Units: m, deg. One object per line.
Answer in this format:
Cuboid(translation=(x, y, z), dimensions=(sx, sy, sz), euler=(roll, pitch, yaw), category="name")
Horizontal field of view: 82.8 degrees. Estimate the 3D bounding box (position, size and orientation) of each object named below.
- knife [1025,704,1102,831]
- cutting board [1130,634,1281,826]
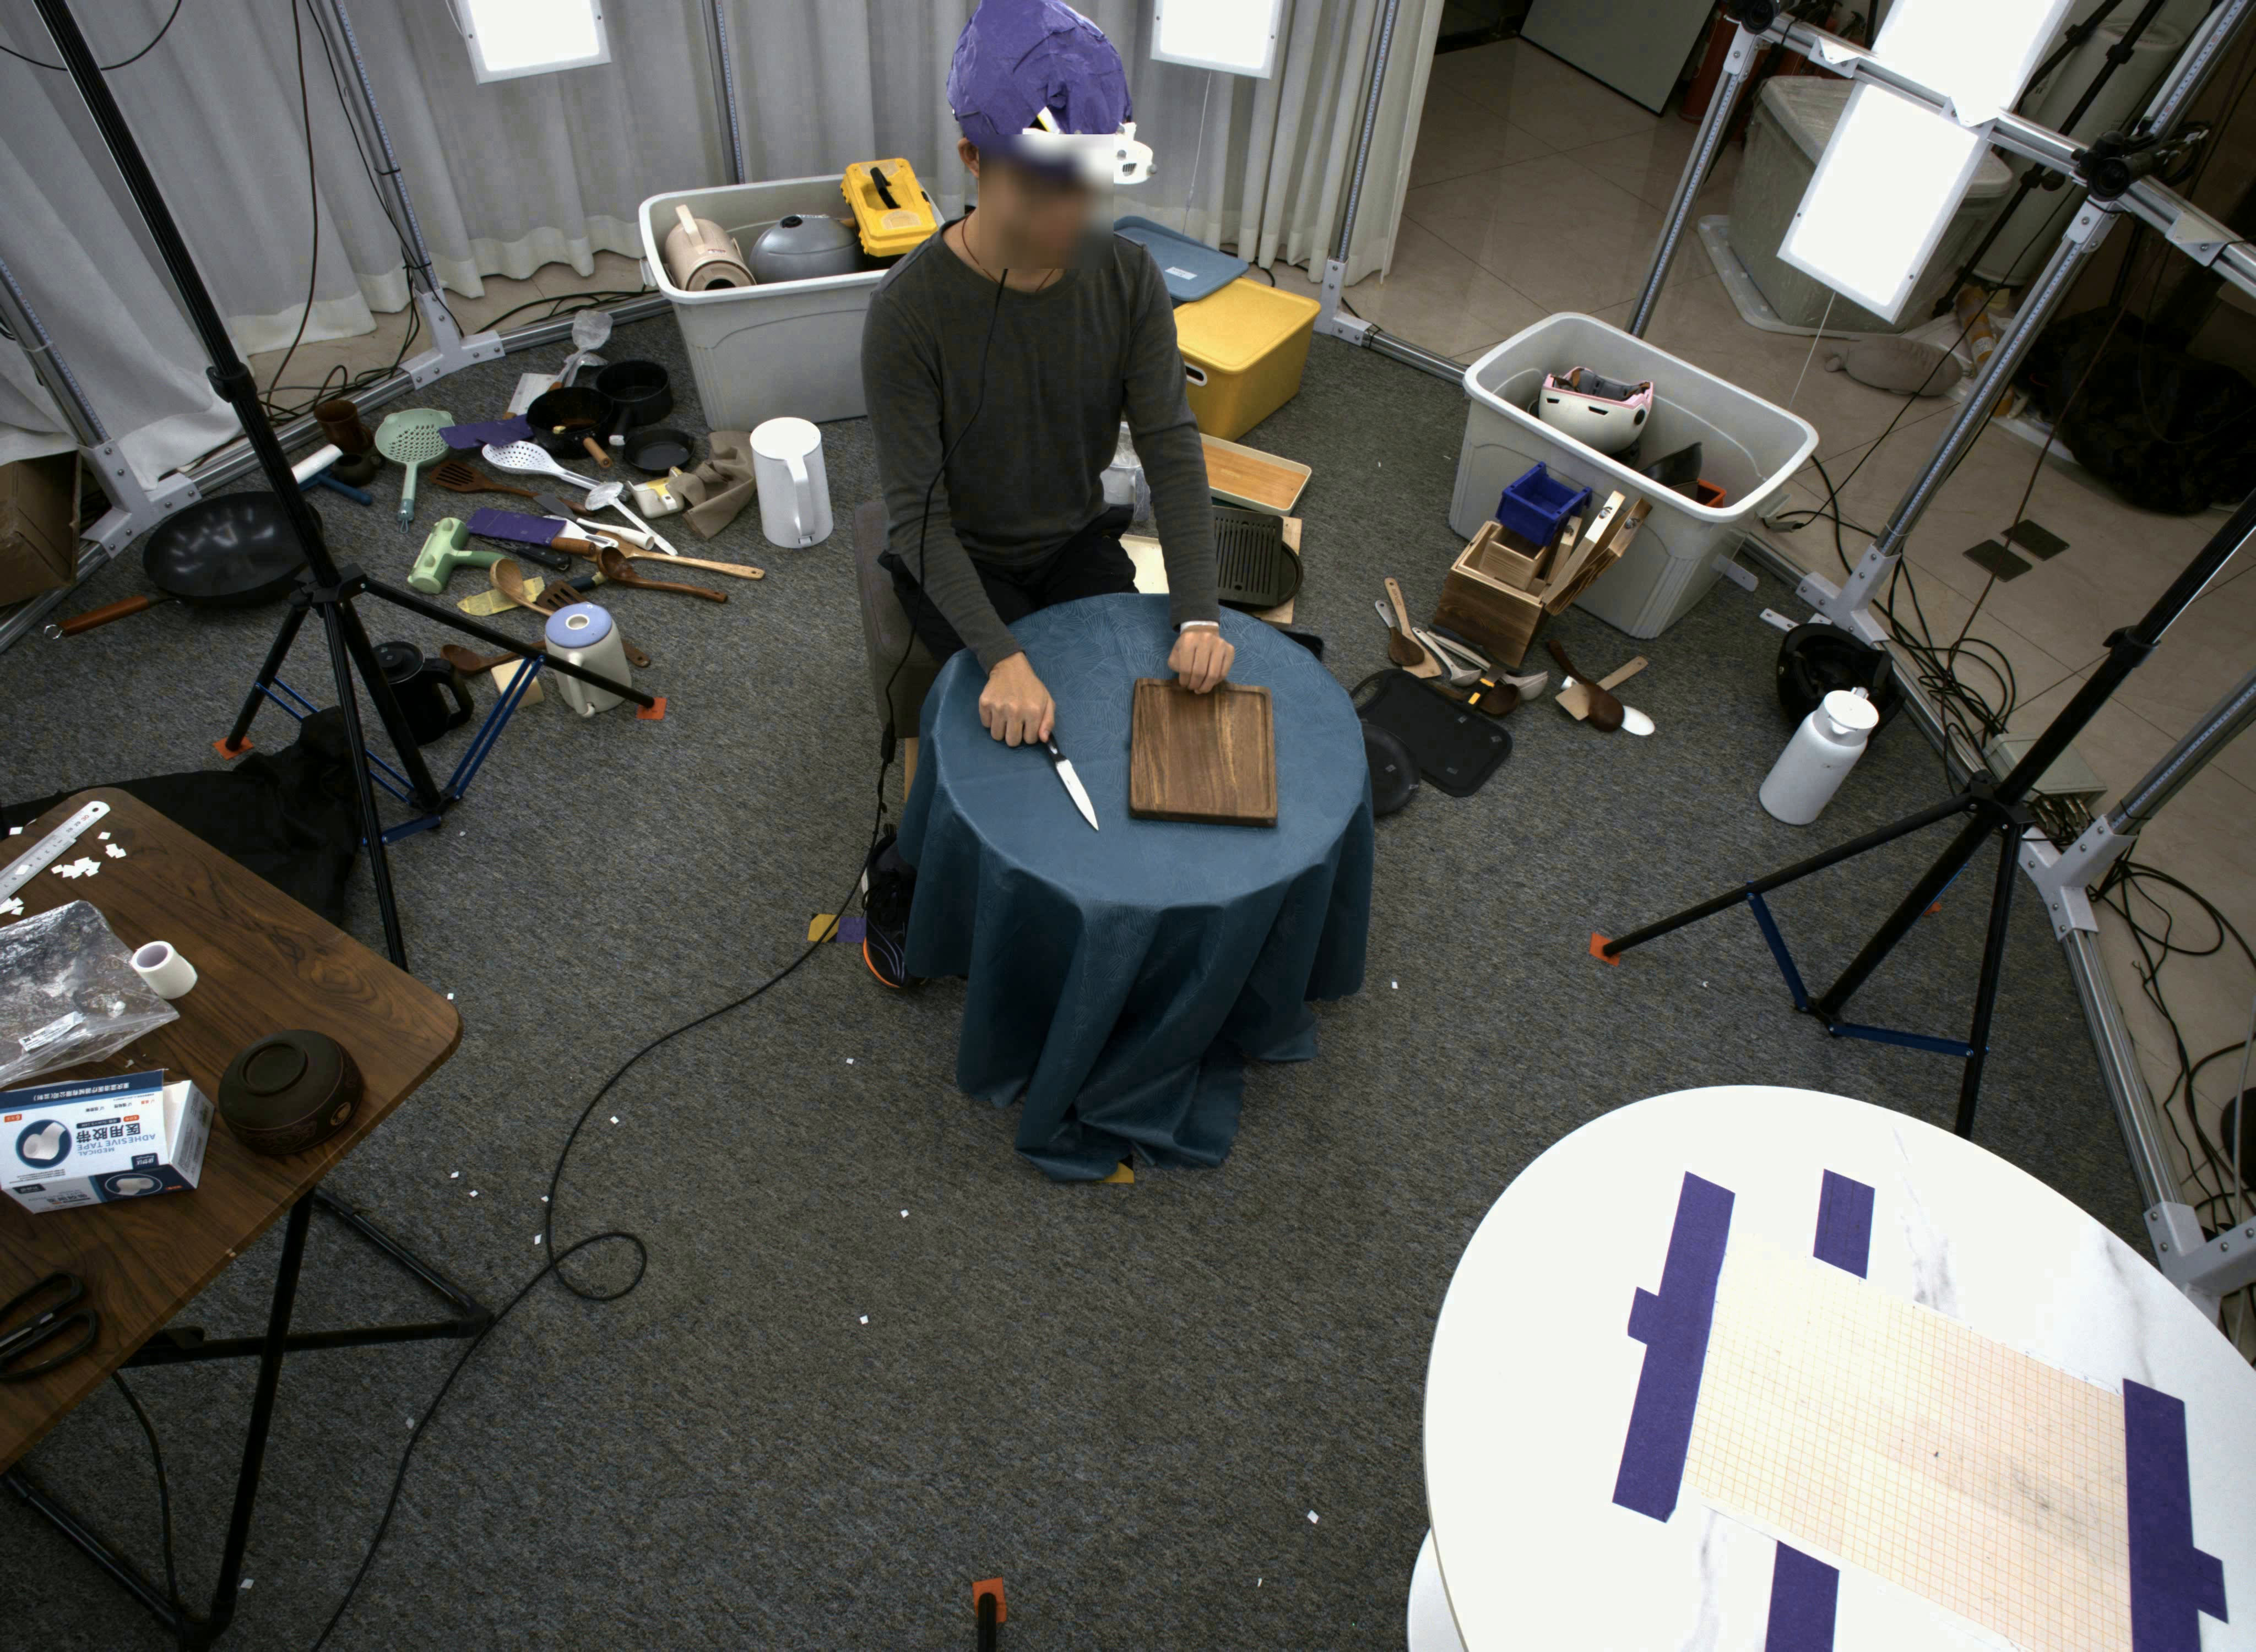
Cuboid(translation=(-0.088, -0.080, 1.722), dimensions=(0.024, 0.016, 0.243), euler=(-19, 54, -17), category="knife")
Cuboid(translation=(0.104, -0.143, 1.785), dimensions=(0.201, 0.022, 0.361), euler=(3, 49, -1), category="cutting board")
